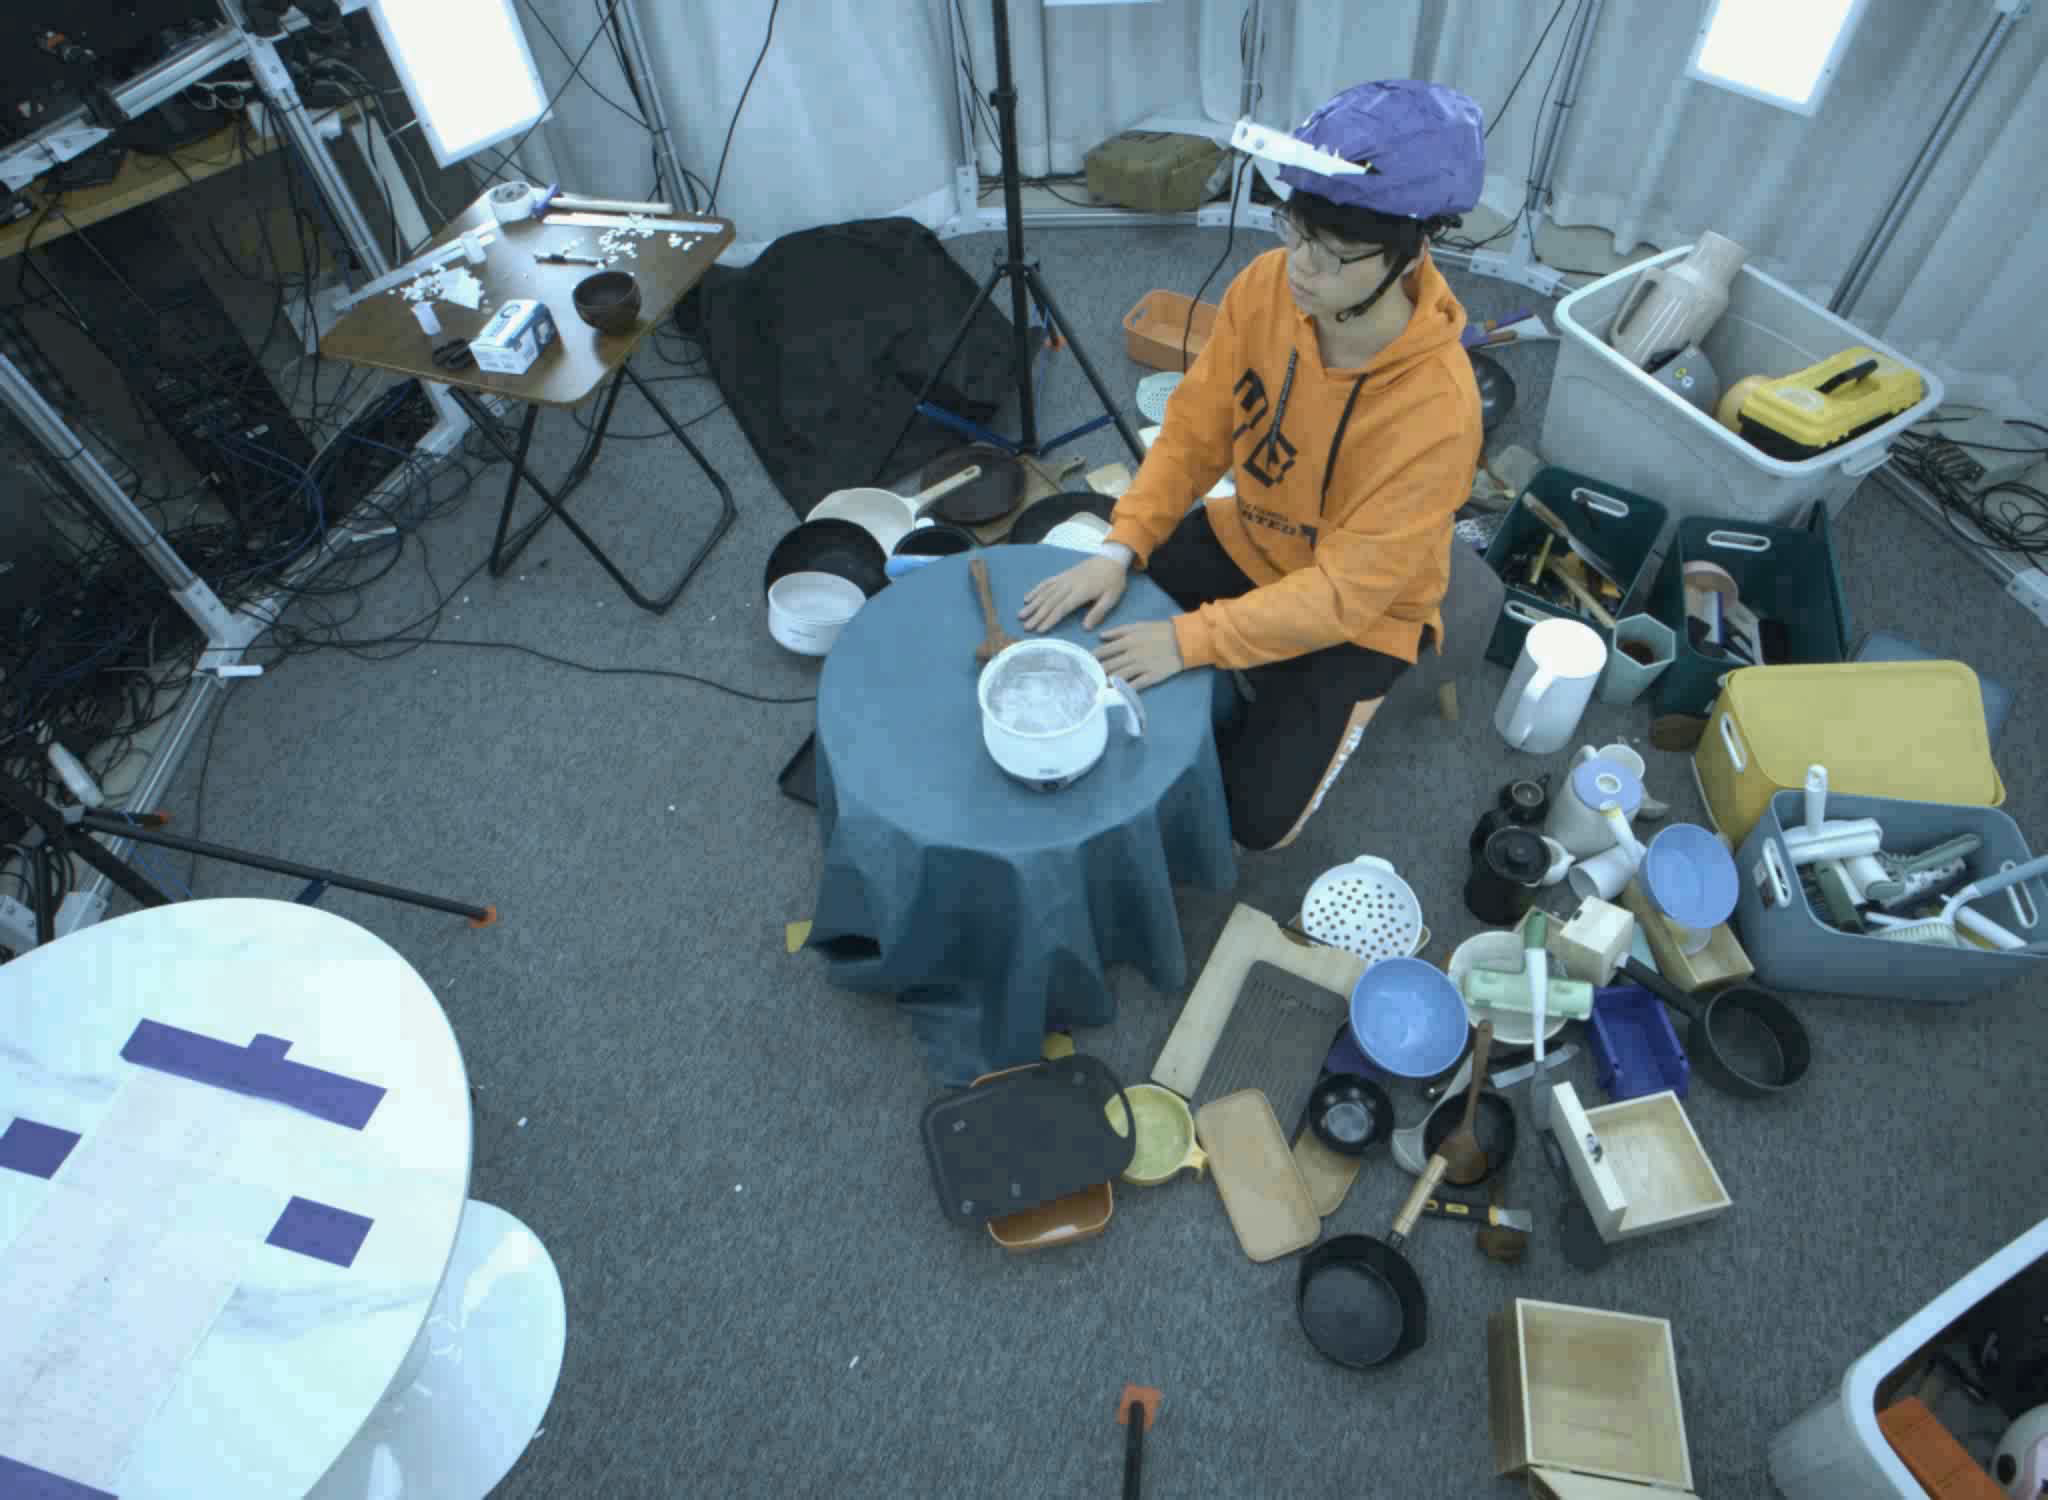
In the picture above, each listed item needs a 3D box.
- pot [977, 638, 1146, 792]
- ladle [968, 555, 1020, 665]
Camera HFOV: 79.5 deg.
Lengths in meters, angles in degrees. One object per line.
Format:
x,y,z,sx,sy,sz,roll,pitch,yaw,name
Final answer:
0.056,-0.052,1.737,0.234,0.138,0.176,-6,55,-1,pot
-0.060,-0.230,1.913,0.077,0.066,0.256,-10,55,-3,ladle
